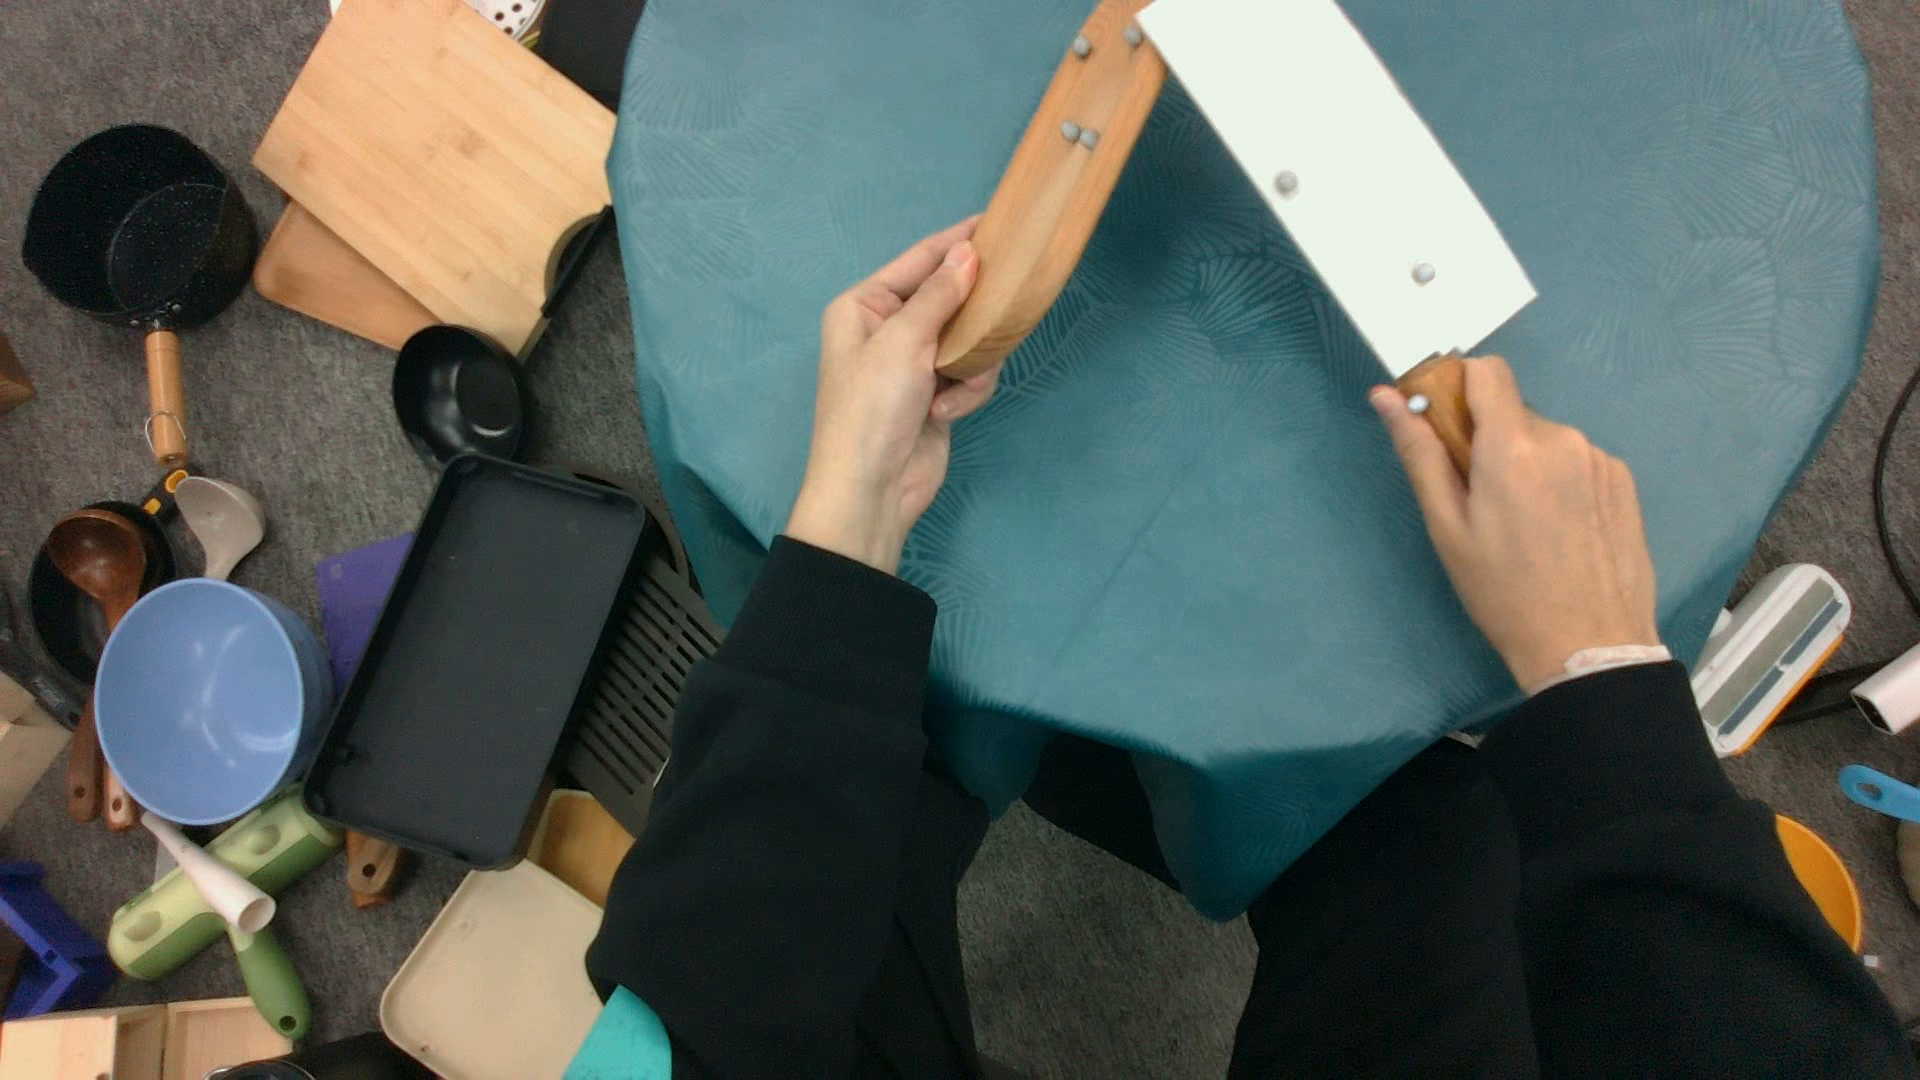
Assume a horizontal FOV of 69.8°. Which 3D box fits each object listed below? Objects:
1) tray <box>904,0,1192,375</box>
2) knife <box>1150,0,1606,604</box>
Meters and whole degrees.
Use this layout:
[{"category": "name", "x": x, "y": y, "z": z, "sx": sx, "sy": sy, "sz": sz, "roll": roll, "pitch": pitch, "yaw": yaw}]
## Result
[{"category": "tray", "x": 0.041, "y": -0.168, "z": 0.593, "sx": 0.020, "sy": 0.101, "sz": 0.232, "roll": 32, "pitch": 71, "yaw": -23}, {"category": "knife", "x": 0.193, "y": -0.118, "z": 0.583, "sx": 0.093, "sy": 0.021, "sz": 0.305, "roll": -35, "pitch": 92, "yaw": -23}]
